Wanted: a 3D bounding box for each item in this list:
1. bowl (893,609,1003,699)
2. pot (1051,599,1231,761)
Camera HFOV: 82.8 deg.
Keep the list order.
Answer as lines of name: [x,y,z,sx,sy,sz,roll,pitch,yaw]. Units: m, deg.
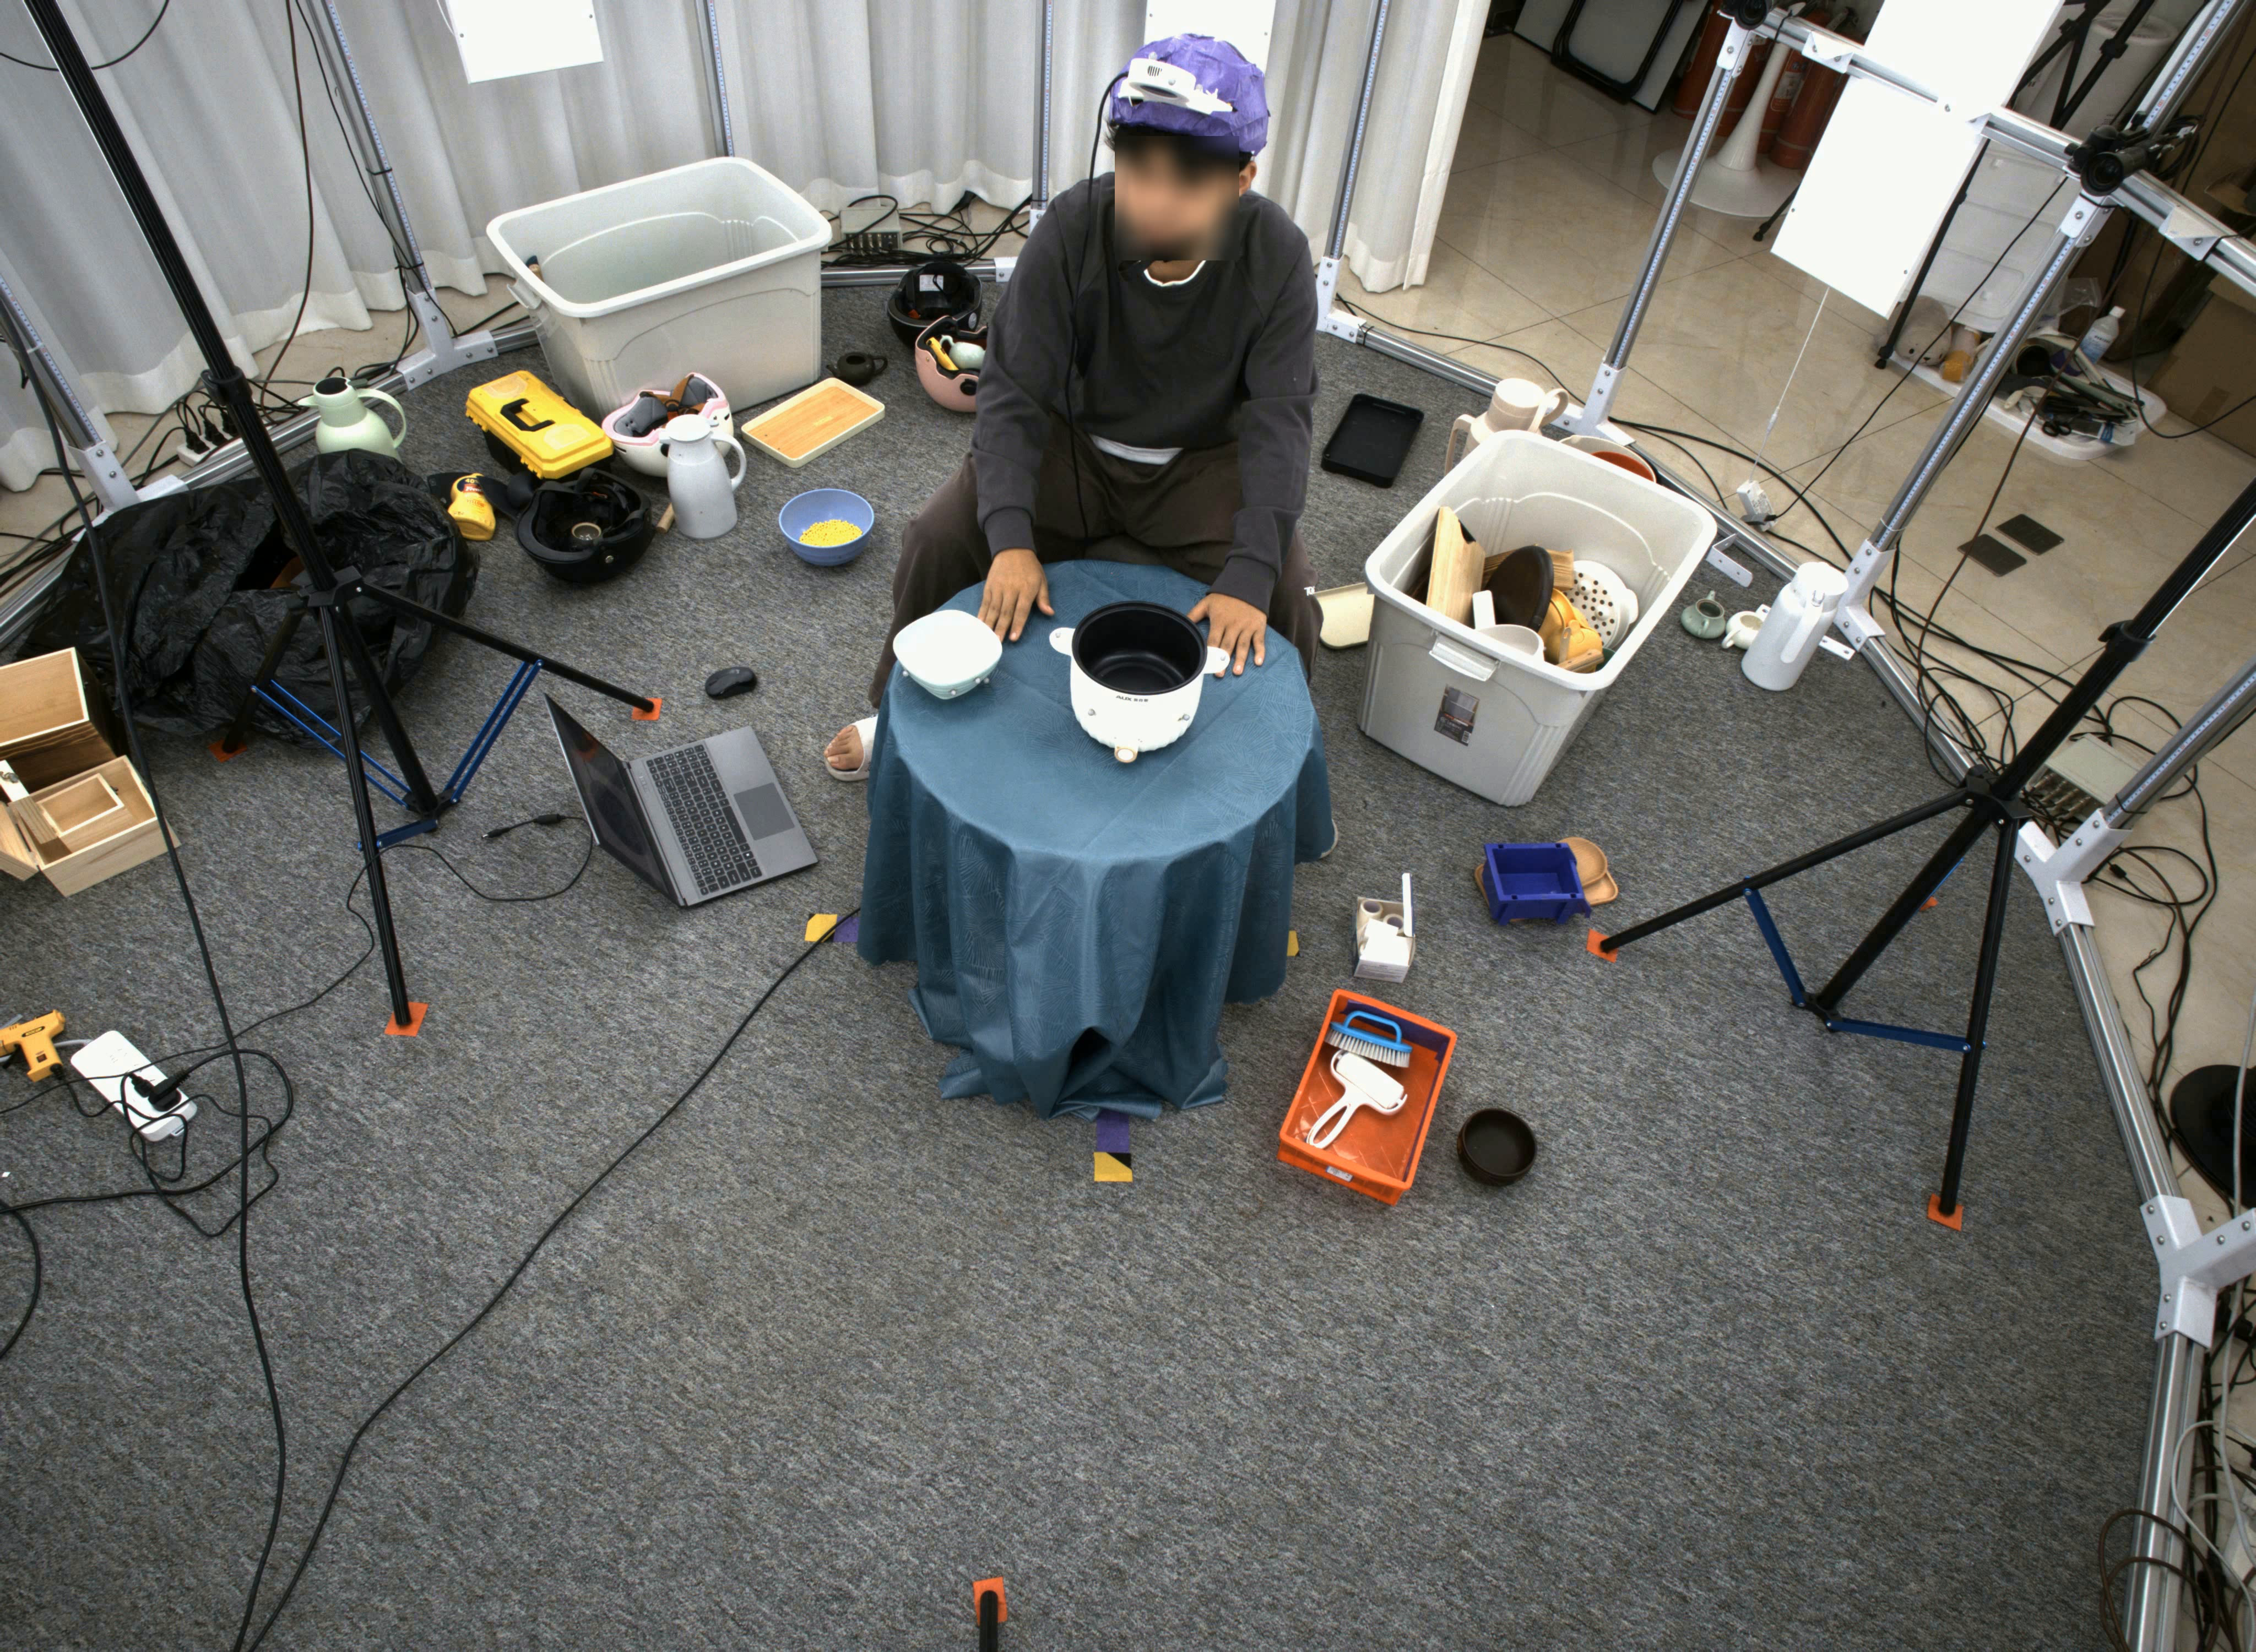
bowl: [-0.252,-0.233,1.813,0.151,0.057,0.155,3,50,-4]
pot: [0.014,-0.195,1.744,0.240,0.139,0.195,5,46,2]
